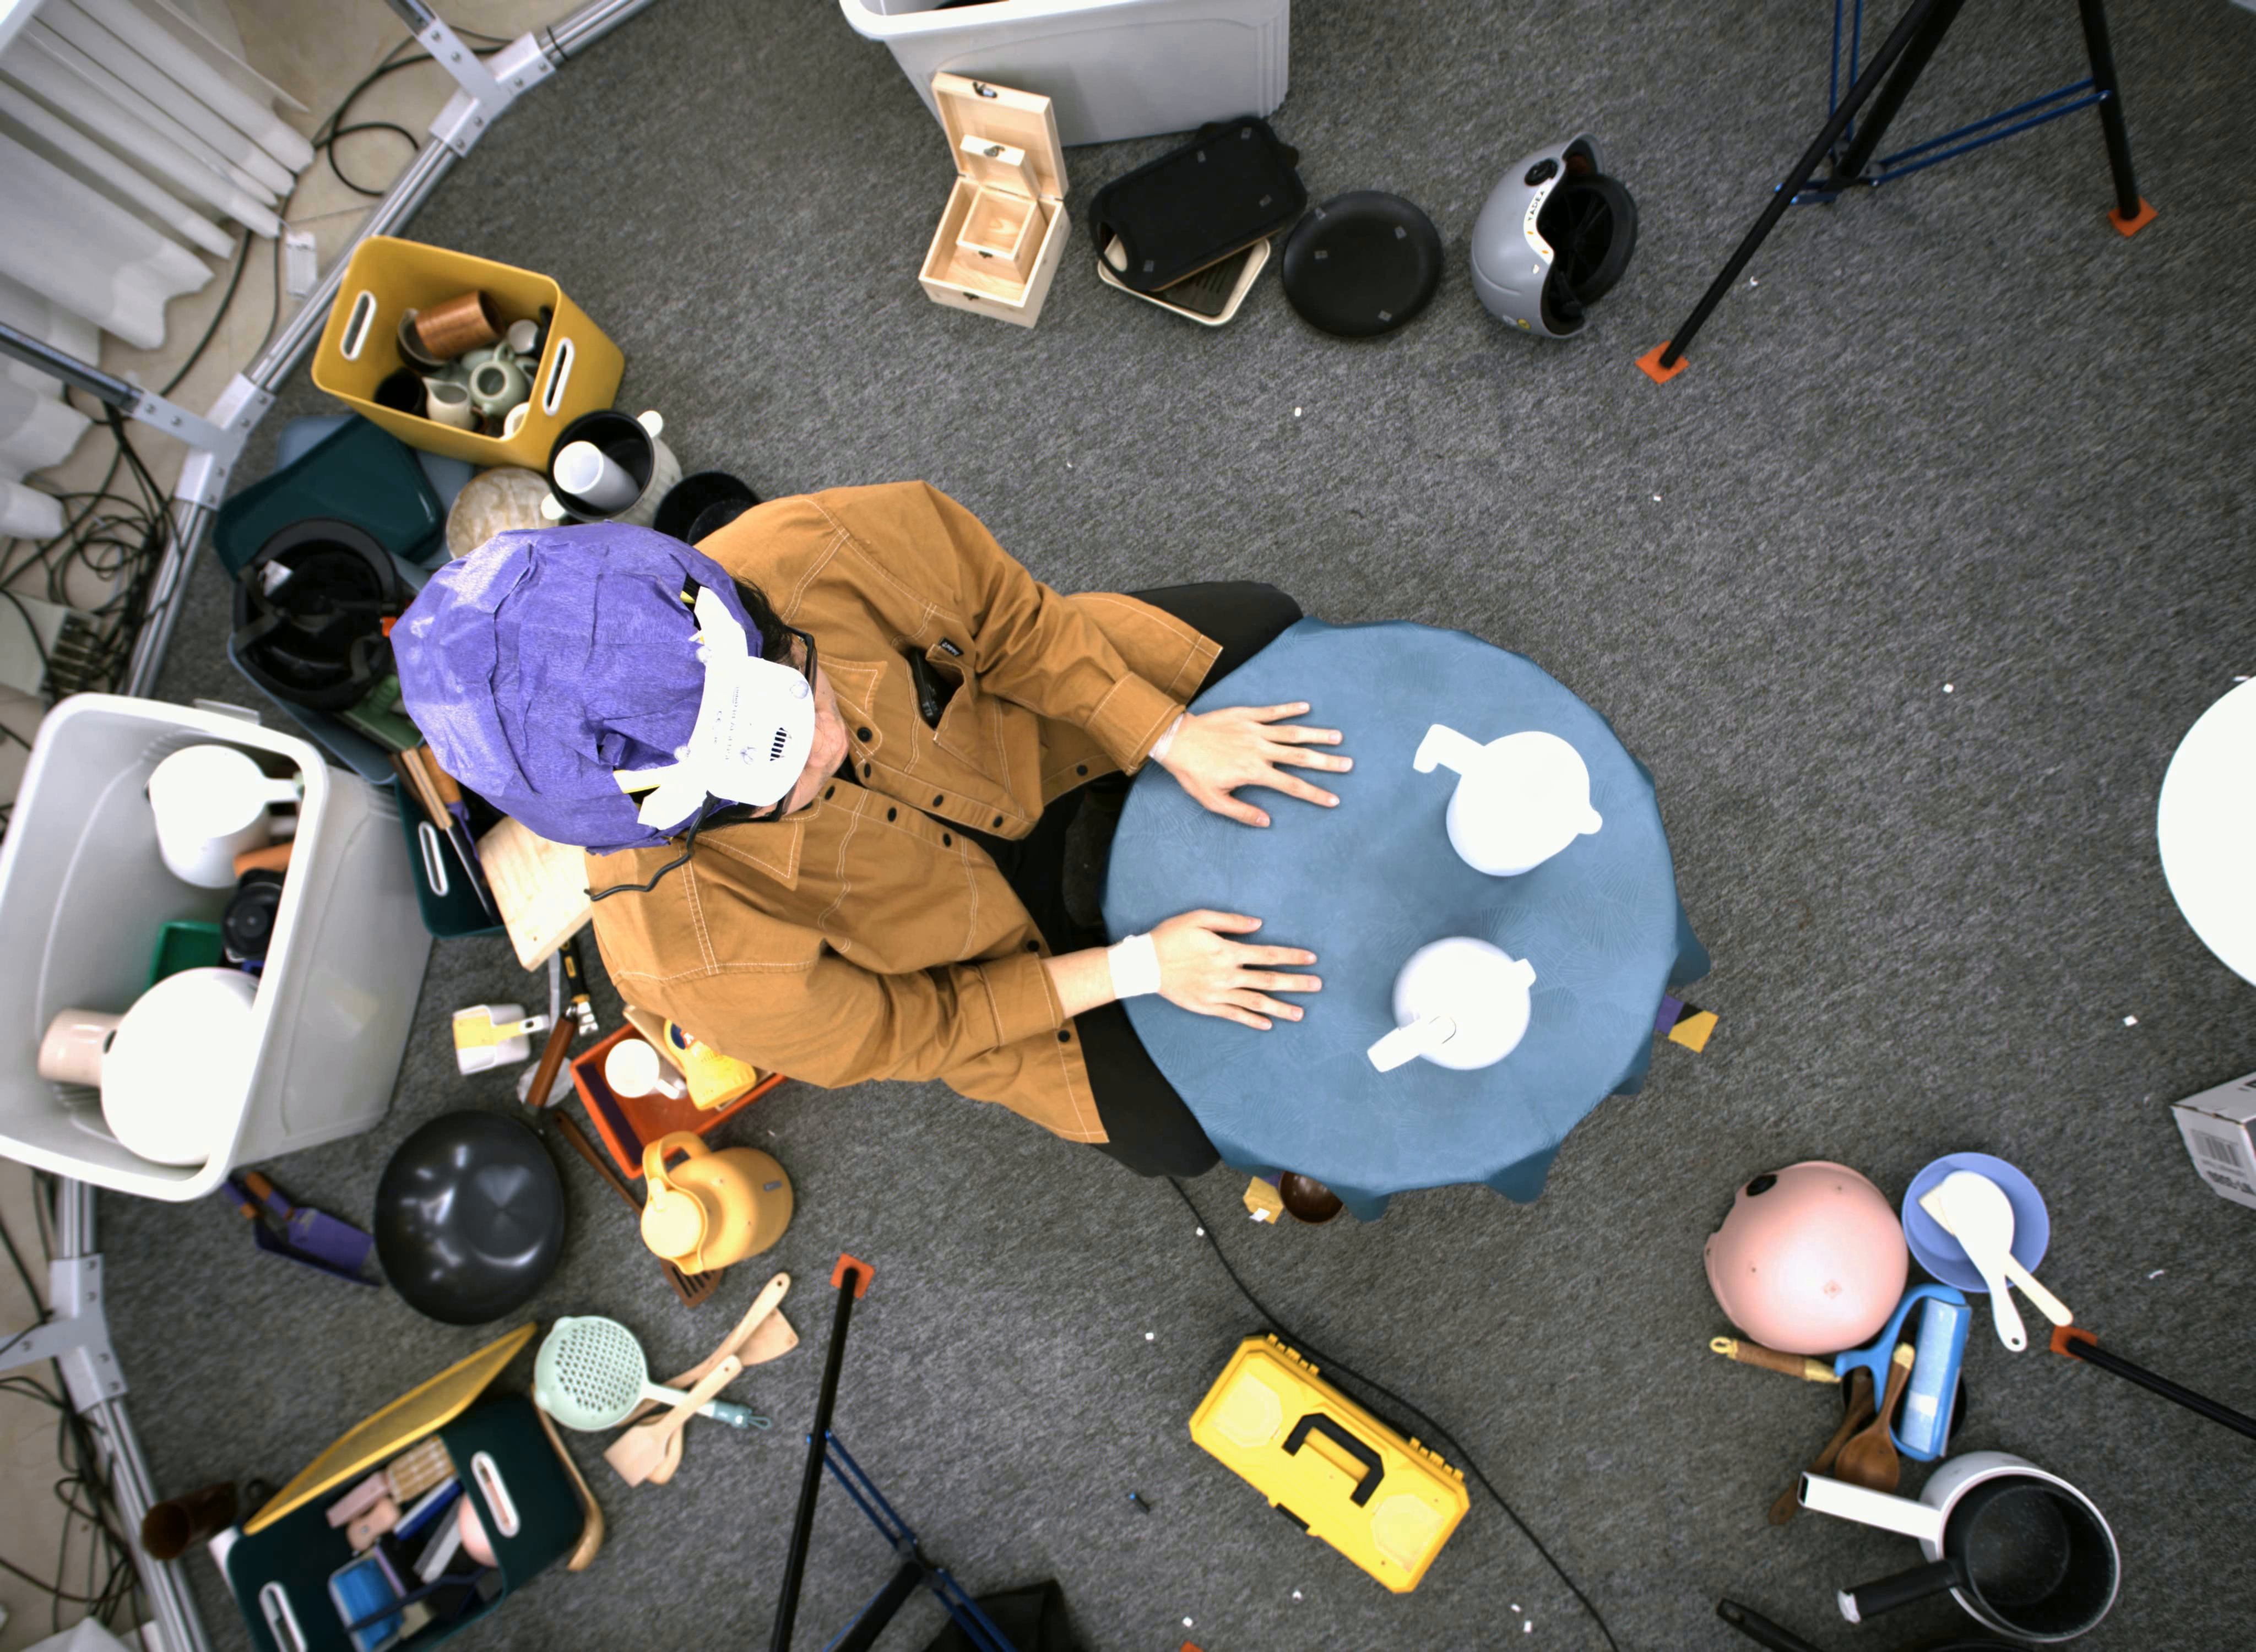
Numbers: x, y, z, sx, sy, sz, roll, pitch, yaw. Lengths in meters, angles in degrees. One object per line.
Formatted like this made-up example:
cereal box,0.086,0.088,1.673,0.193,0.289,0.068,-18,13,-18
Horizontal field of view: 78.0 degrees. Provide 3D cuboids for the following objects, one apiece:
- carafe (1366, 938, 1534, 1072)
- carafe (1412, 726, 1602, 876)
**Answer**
carafe,0.305,0.181,1.323,0.169,0.249,0.131,-34,80,7
carafe,0.354,-0.028,1.314,0.172,0.268,0.124,29,92,12
